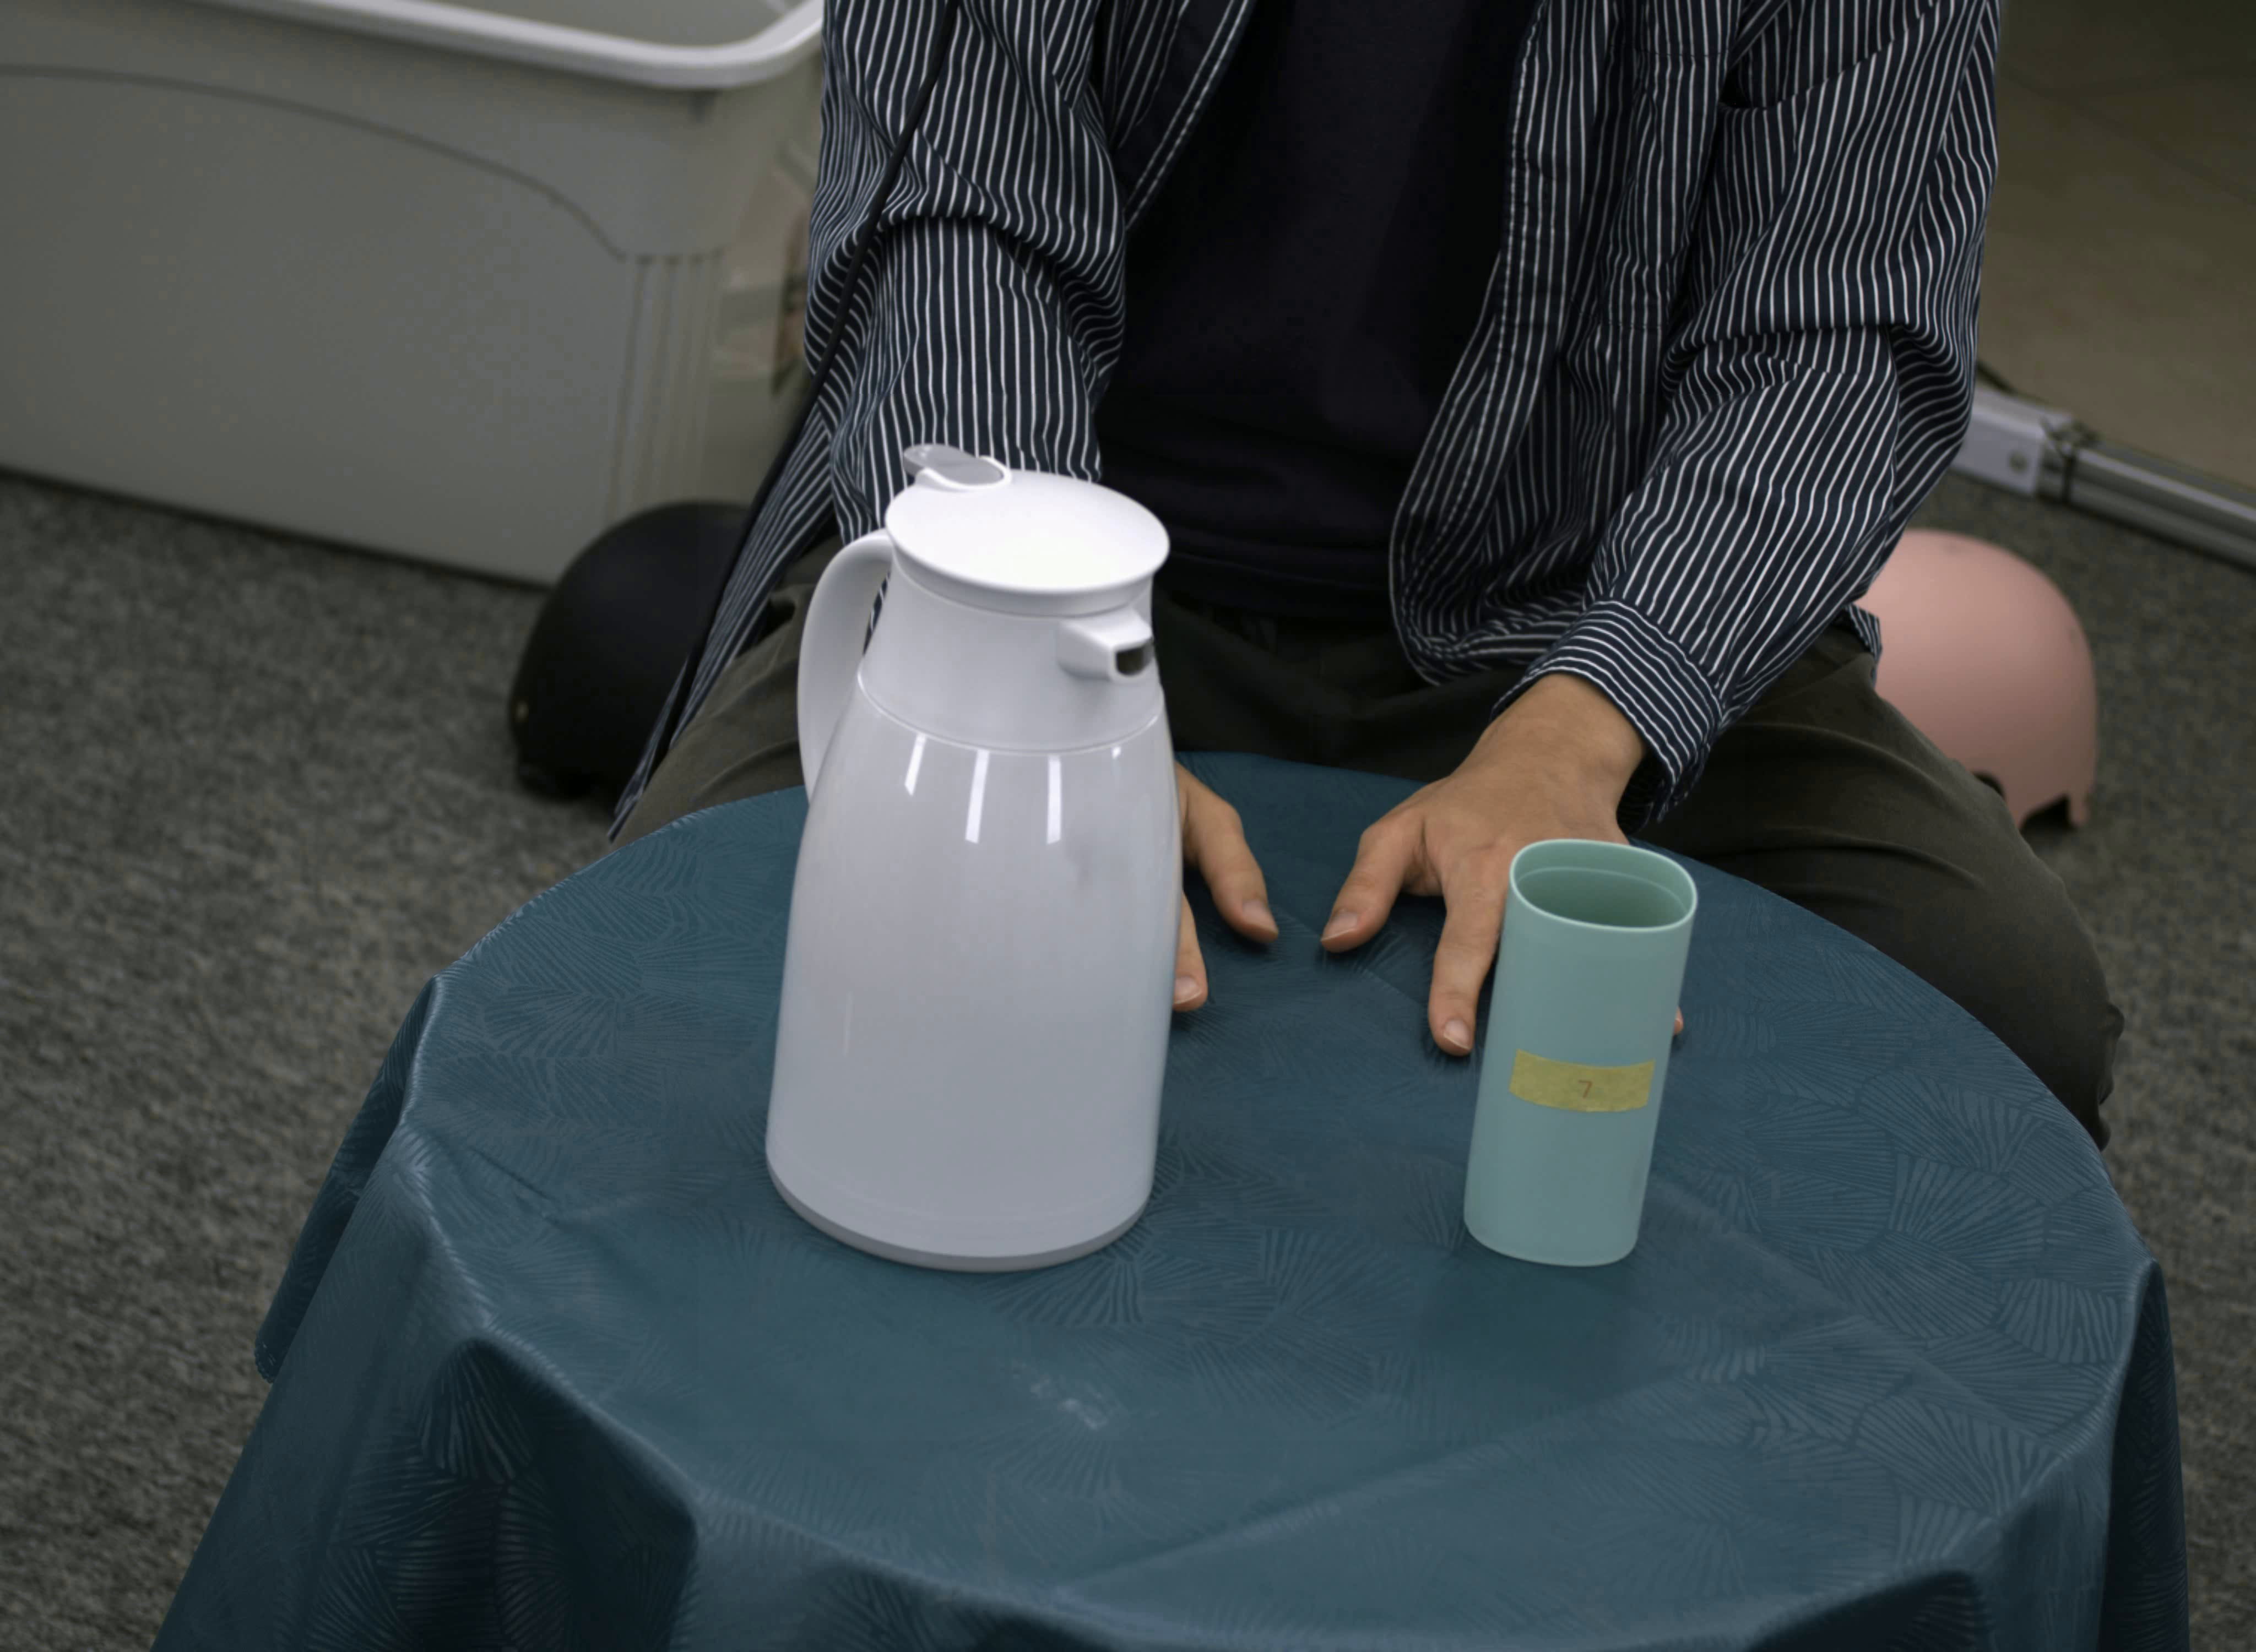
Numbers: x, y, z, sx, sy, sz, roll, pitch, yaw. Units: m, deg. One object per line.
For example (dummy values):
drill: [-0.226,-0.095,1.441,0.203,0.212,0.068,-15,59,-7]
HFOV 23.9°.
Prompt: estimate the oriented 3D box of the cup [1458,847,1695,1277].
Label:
cup: [0.149,0.078,1.781,0.066,0.132,0.067,5,28,-3]

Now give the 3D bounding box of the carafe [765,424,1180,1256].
carafe: [-0.058,-0.005,1.758,0.132,0.248,0.169,-16,33,-37]
